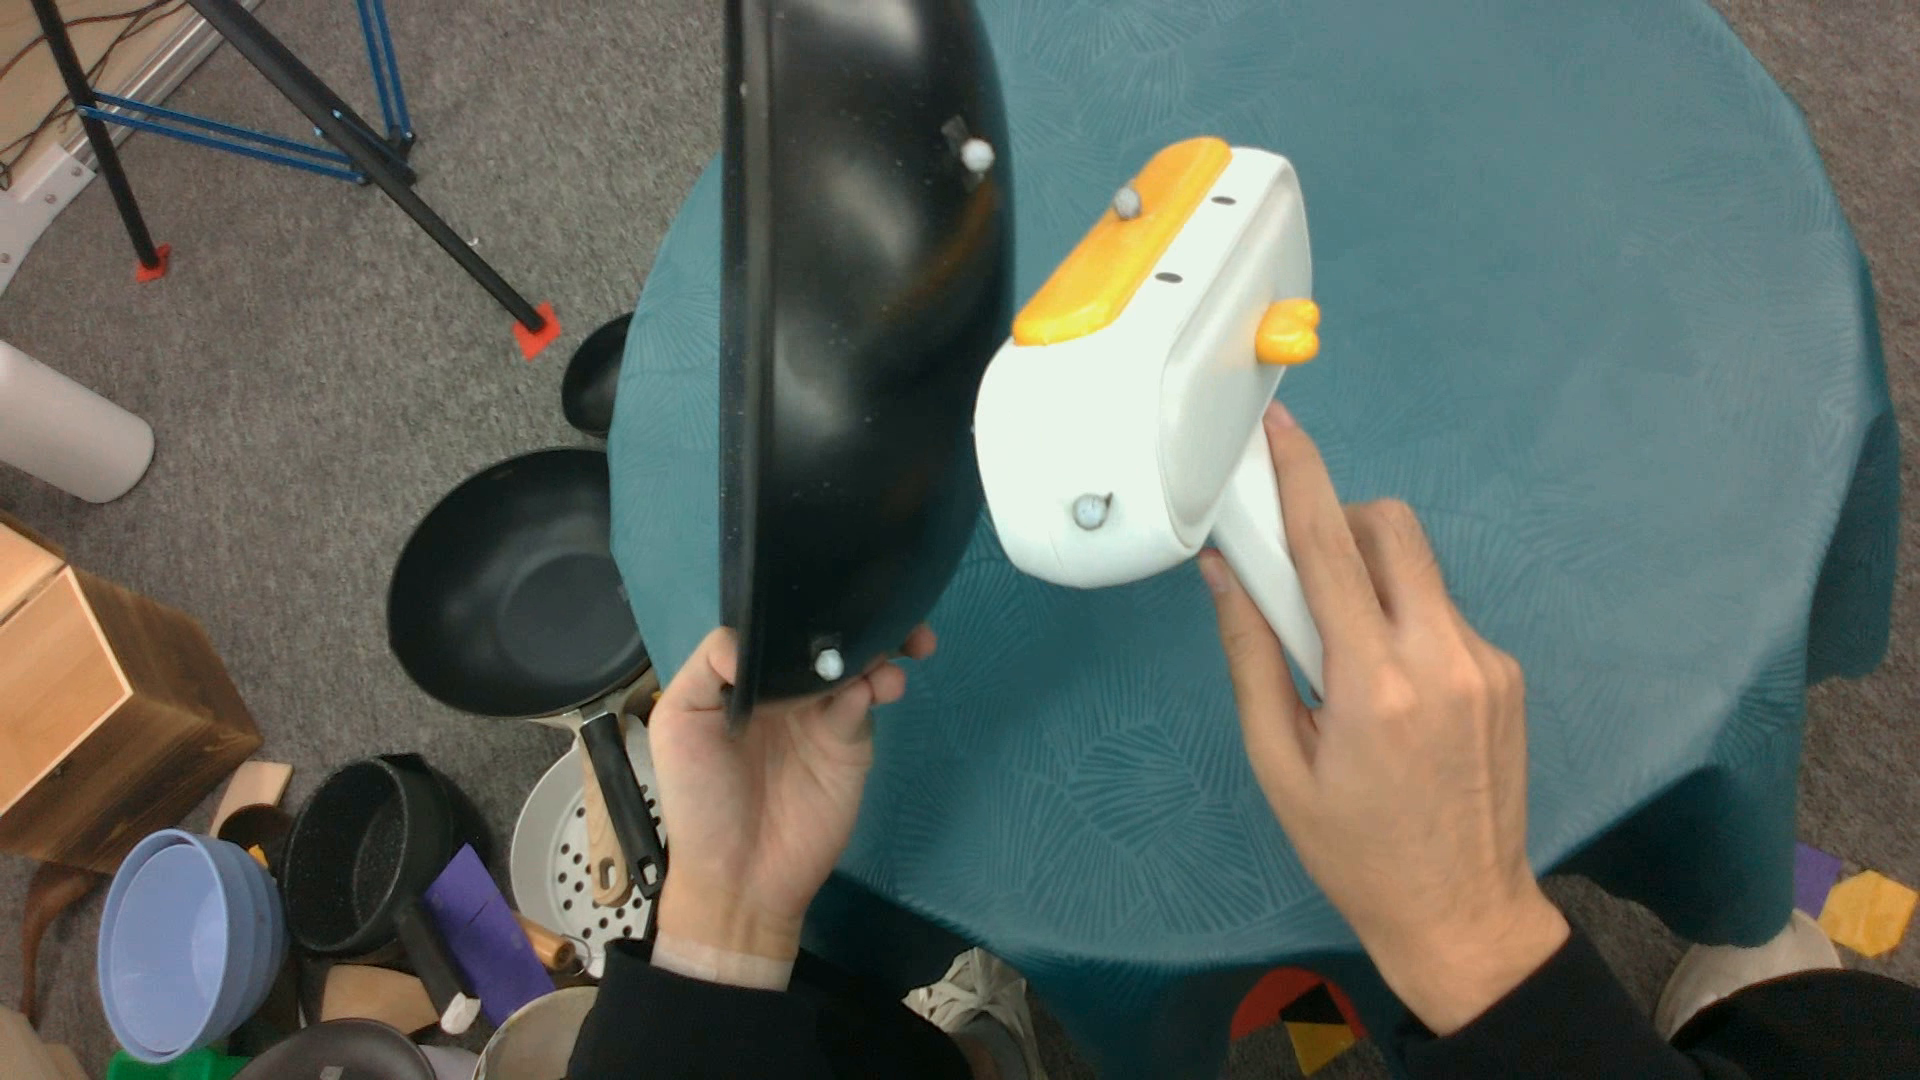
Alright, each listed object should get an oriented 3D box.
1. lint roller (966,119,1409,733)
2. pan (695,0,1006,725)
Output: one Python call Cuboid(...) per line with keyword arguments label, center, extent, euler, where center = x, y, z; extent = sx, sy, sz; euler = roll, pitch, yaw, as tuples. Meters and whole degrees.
Cuboid(label="lint roller", center=(0.083, -0.016, 0.418), extent=(0.074, 0.192, 0.194), euler=(-13, 30, 27))
Cuboid(label="pan", center=(-0.040, -0.135, 0.423), extent=(0.112, 0.474, 0.311), euler=(0, 58, -13))
